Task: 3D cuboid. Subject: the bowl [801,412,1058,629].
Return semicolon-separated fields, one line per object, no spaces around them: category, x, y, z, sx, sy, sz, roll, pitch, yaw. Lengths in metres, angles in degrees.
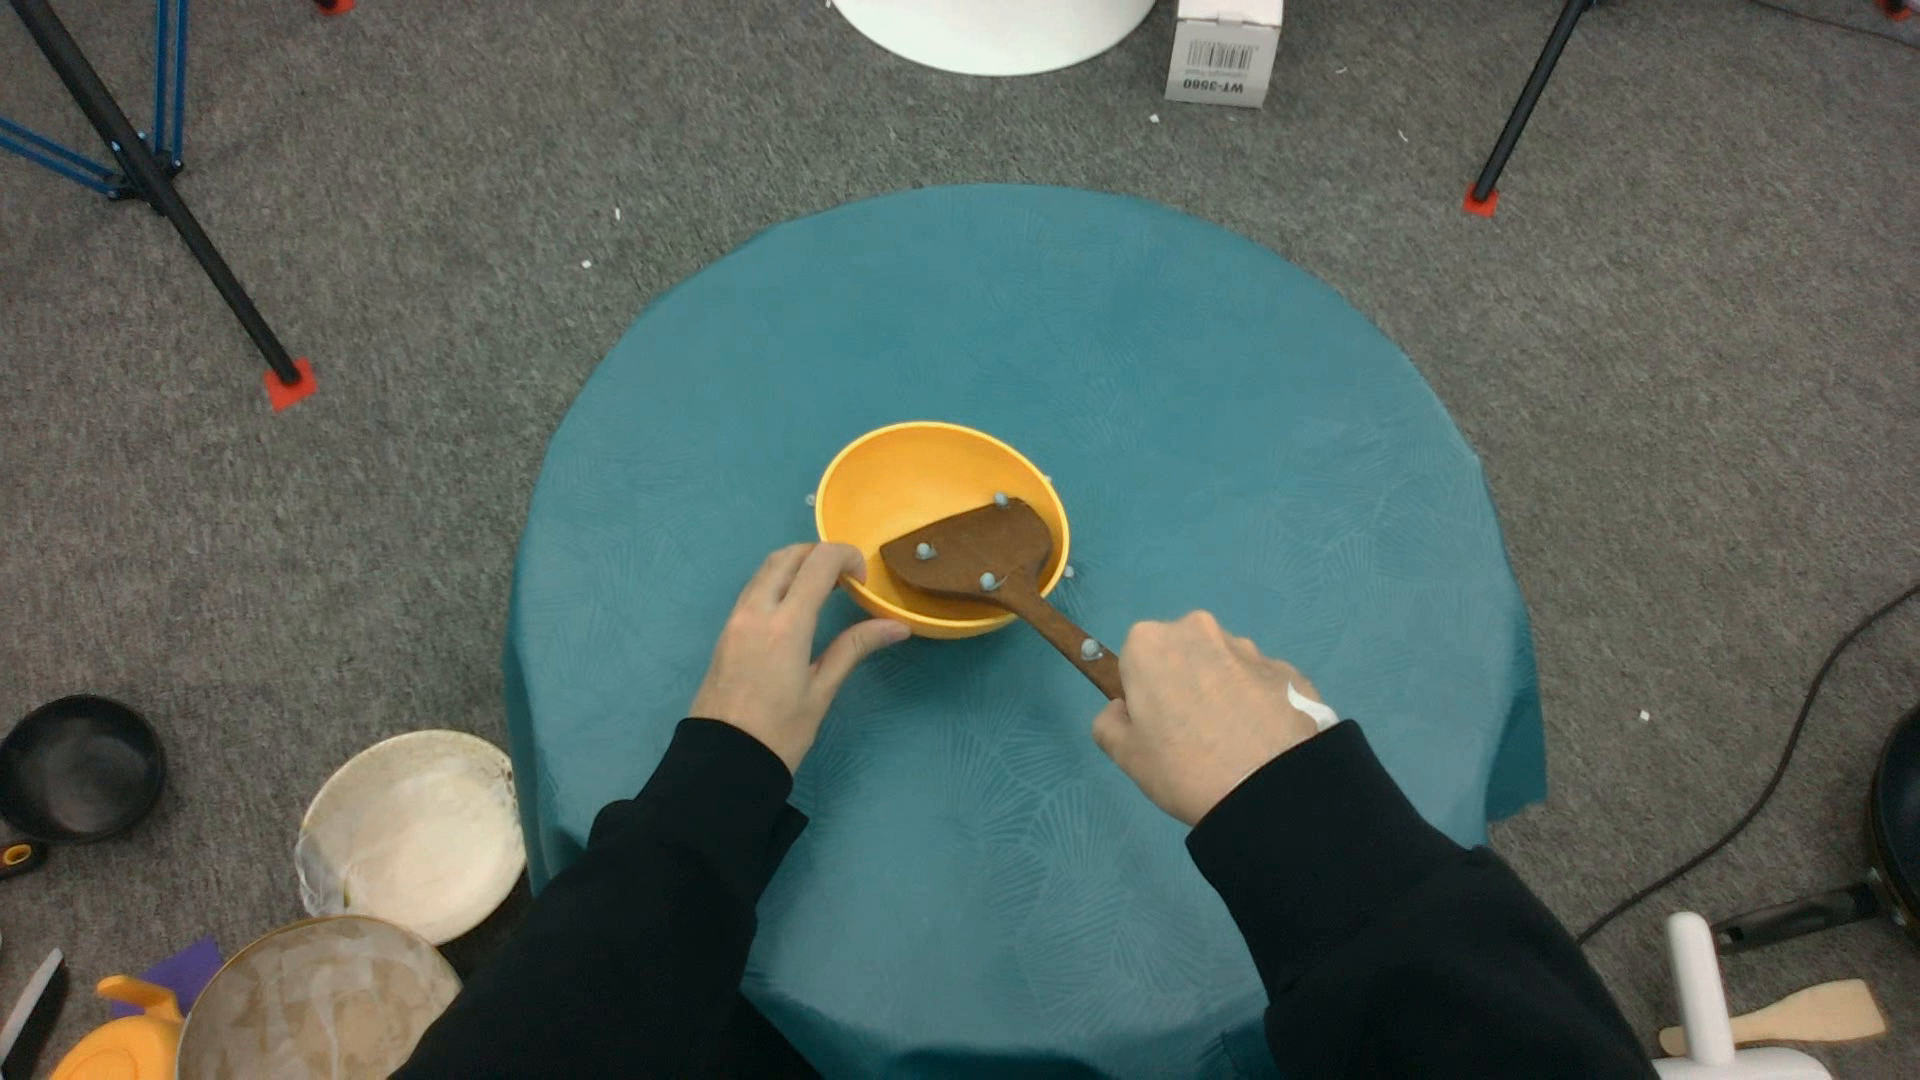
bowl;-0.020;-0.001;0.791;0.145;0.060;0.146;6;53;-8

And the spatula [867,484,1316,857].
spatula;0.051;0.044;0.650;0.096;0.016;0.386;-20;24;-14
